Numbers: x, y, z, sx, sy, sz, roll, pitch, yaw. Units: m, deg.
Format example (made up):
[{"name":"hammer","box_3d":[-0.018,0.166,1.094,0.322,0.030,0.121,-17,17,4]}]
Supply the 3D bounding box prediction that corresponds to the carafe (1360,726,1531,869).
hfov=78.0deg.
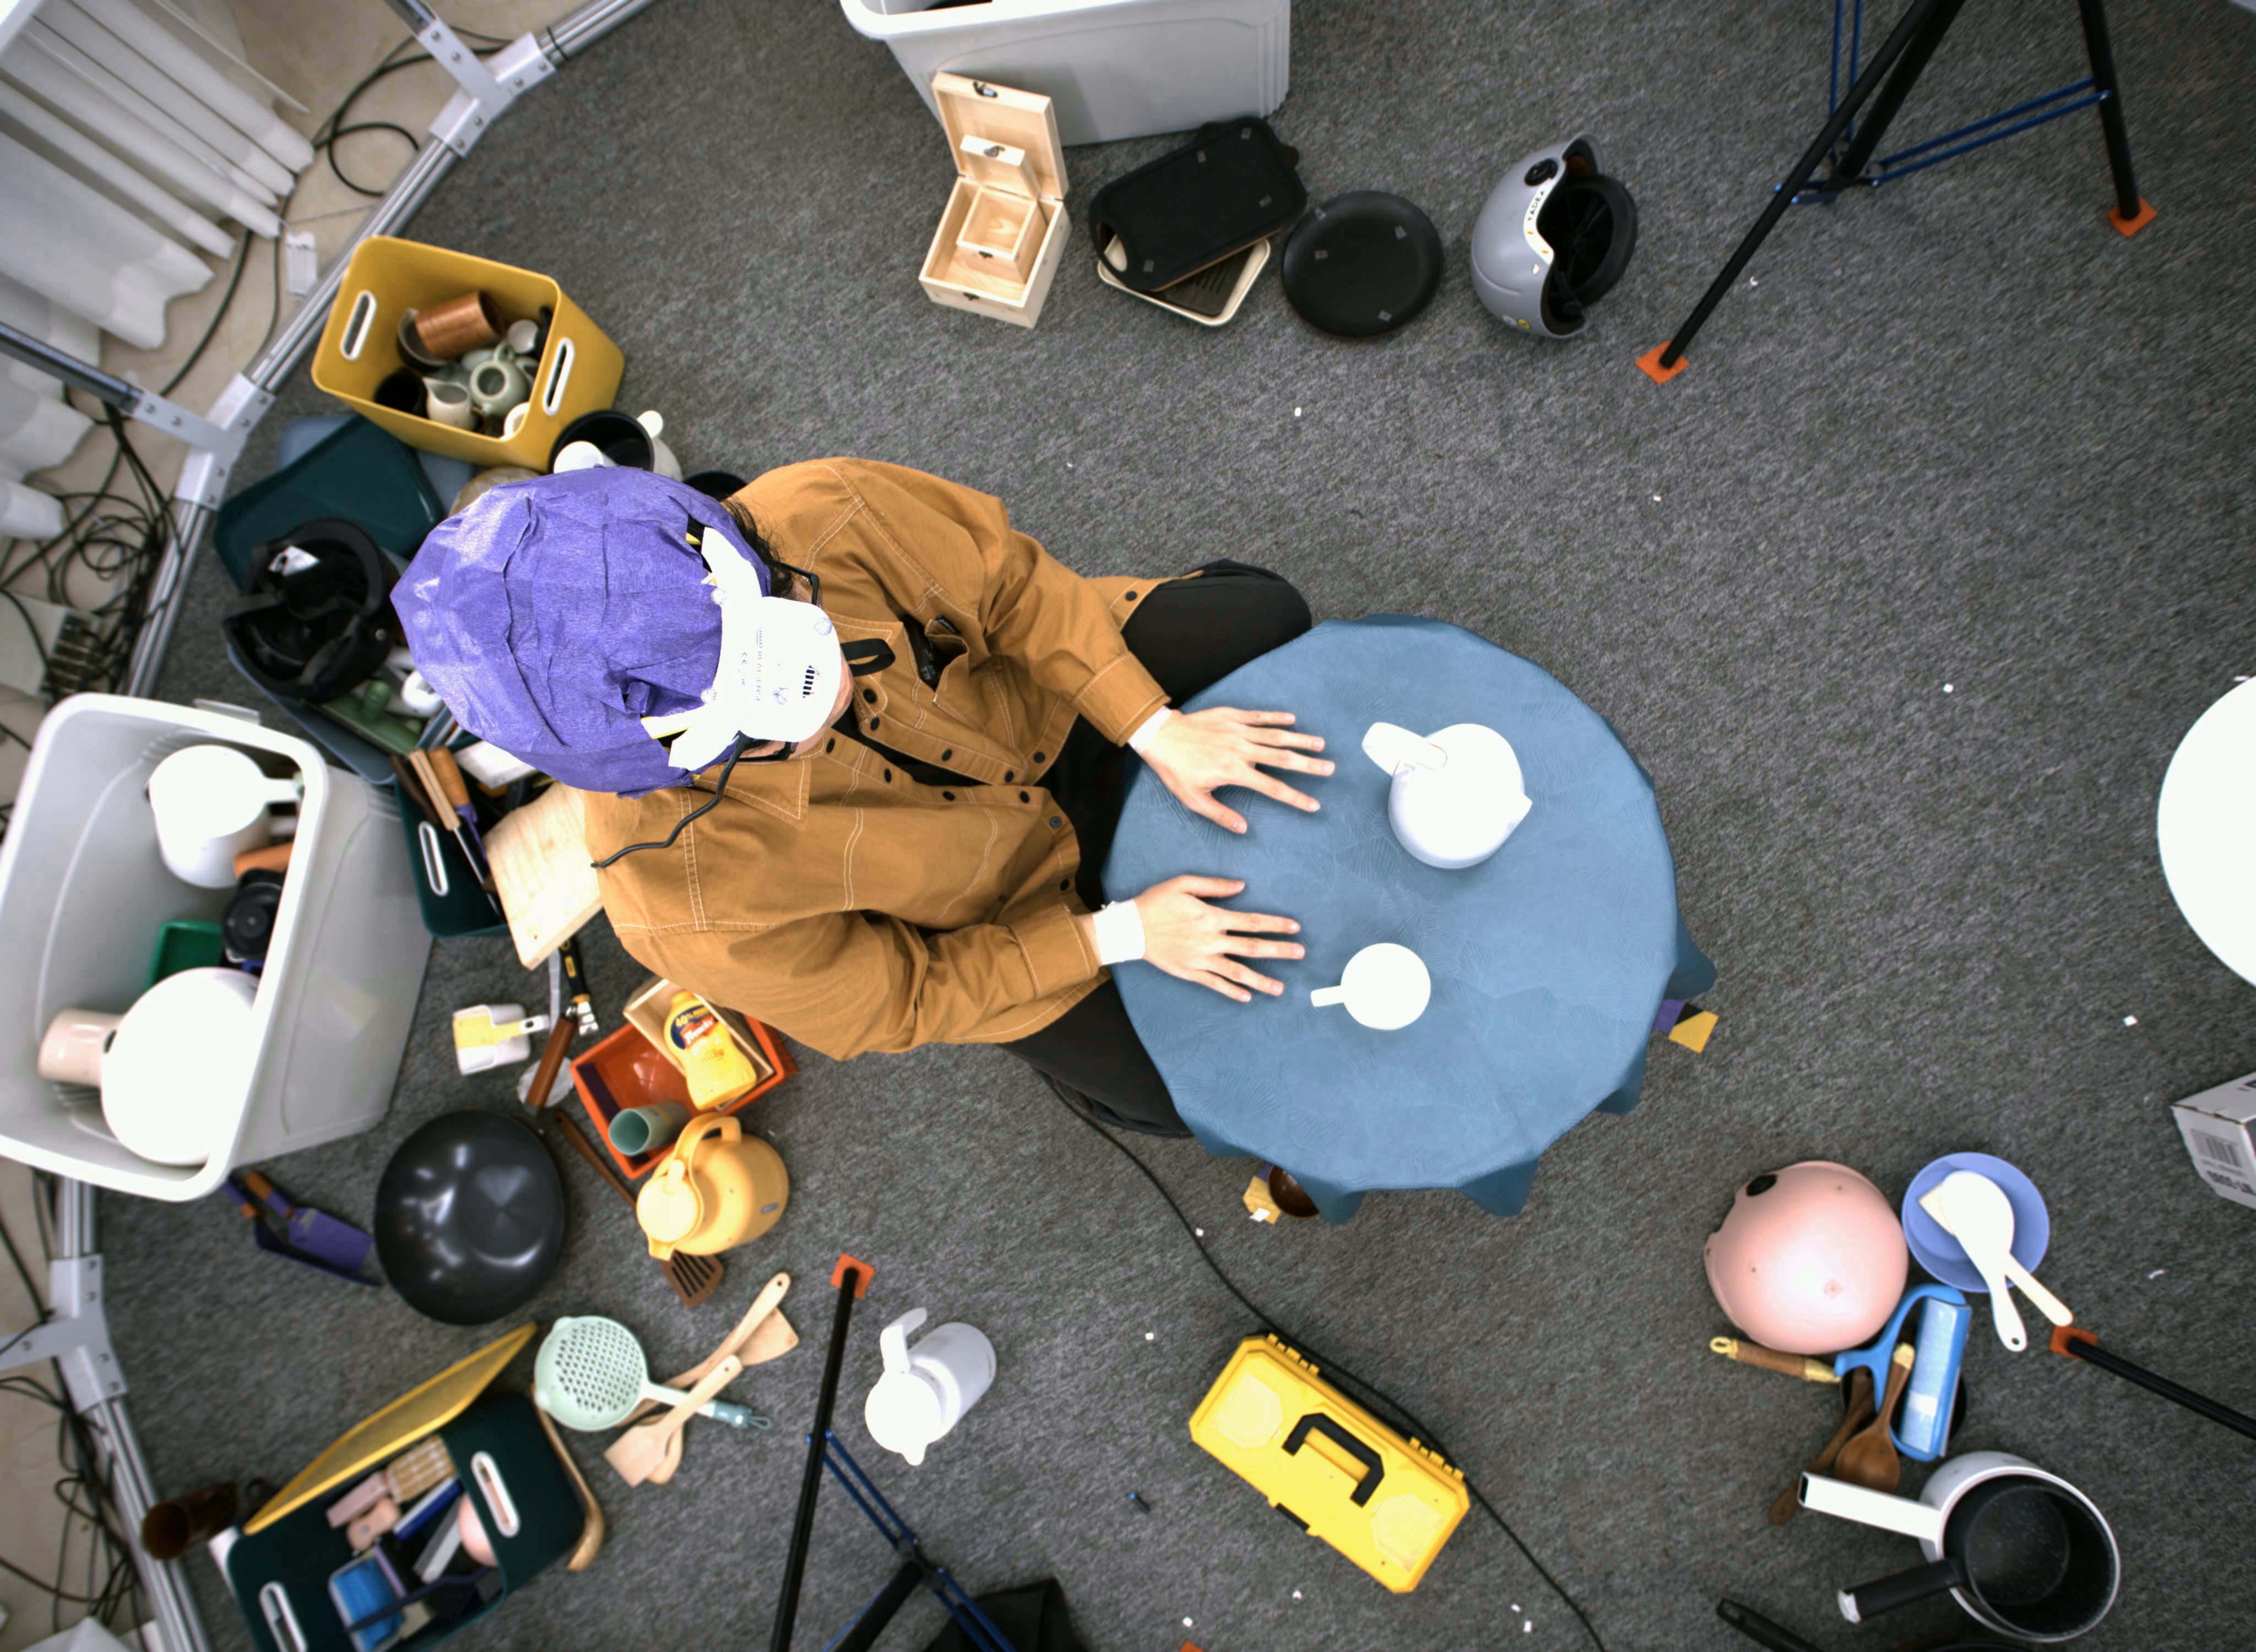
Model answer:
[{"name":"carafe","box_3d":[0.303,-0.042,1.334,0.167,0.248,0.133,30,91,12]}]

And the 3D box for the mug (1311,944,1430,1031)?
[{"name":"mug","box_3d":[0.246,0.165,1.409,0.119,0.102,0.084,-12,83,9]}]
